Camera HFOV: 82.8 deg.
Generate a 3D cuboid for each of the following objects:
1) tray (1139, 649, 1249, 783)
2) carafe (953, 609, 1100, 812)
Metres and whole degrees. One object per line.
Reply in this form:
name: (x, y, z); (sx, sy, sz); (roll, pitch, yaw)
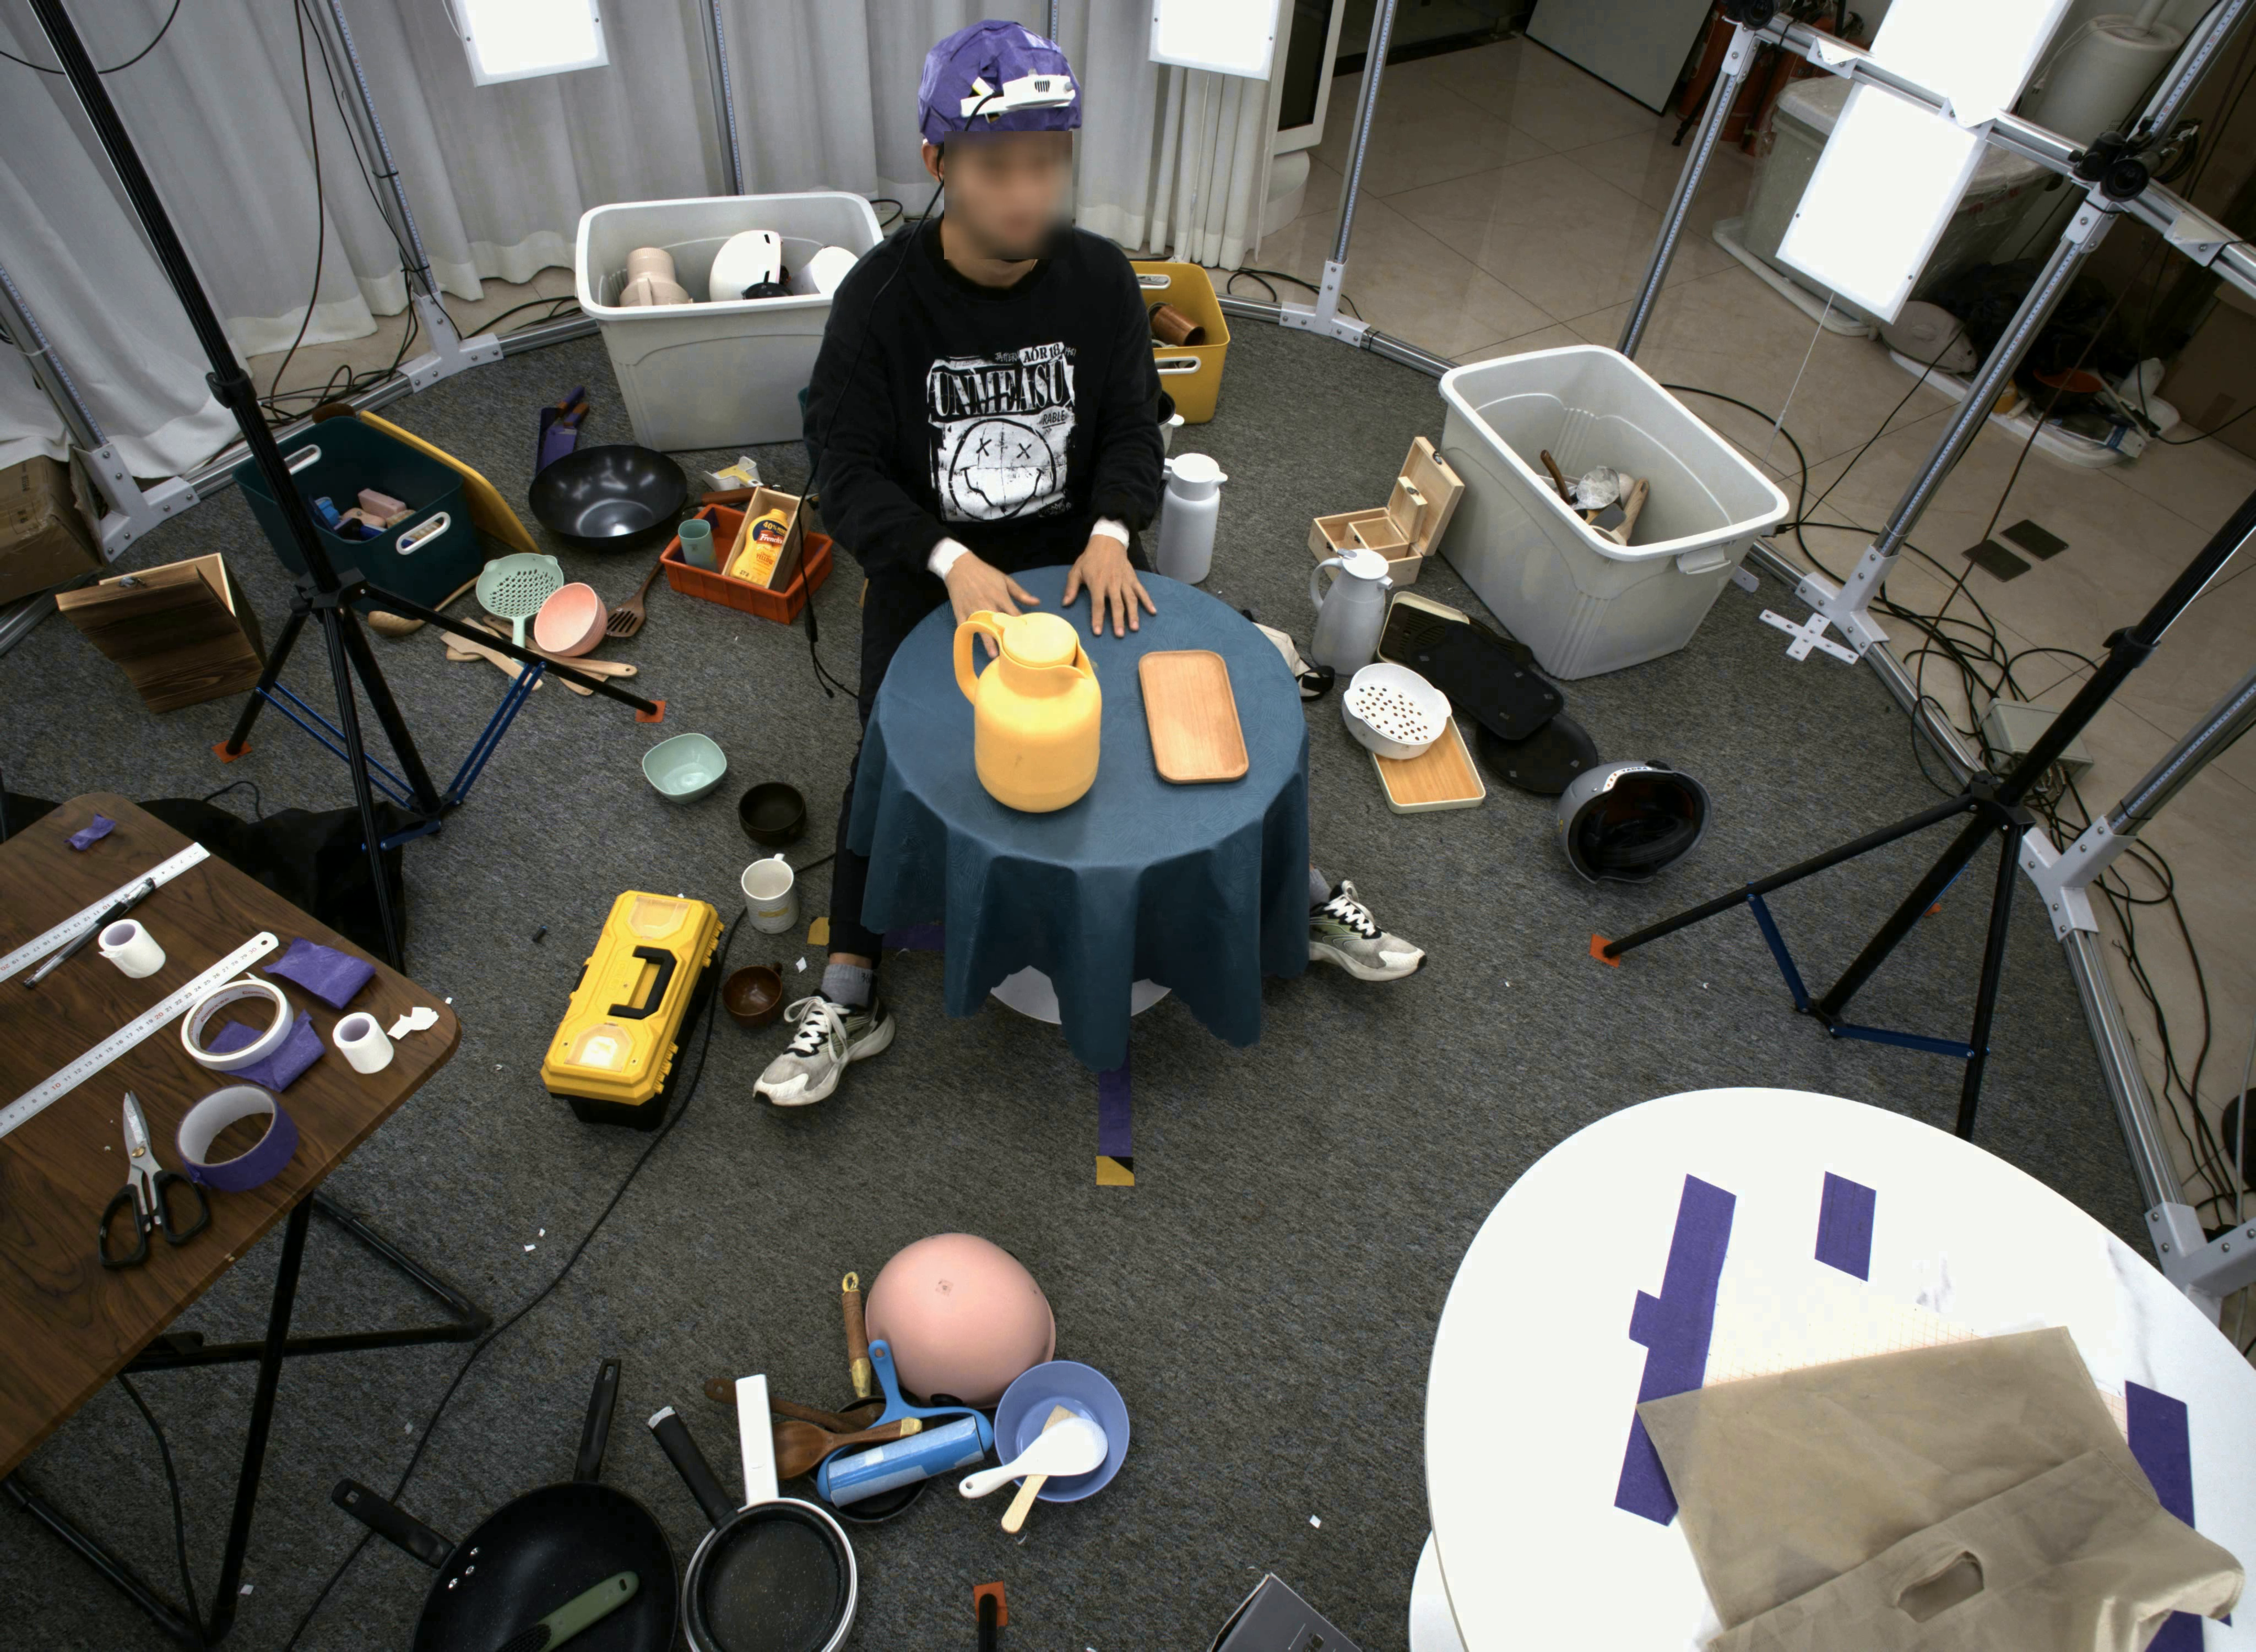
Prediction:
tray: (0.089, -0.158, 1.800); (0.130, 0.022, 0.257); (-1, 49, -7)
carafe: (-0.132, -0.158, 1.629); (0.204, 0.254, 0.166); (30, 52, 18)
